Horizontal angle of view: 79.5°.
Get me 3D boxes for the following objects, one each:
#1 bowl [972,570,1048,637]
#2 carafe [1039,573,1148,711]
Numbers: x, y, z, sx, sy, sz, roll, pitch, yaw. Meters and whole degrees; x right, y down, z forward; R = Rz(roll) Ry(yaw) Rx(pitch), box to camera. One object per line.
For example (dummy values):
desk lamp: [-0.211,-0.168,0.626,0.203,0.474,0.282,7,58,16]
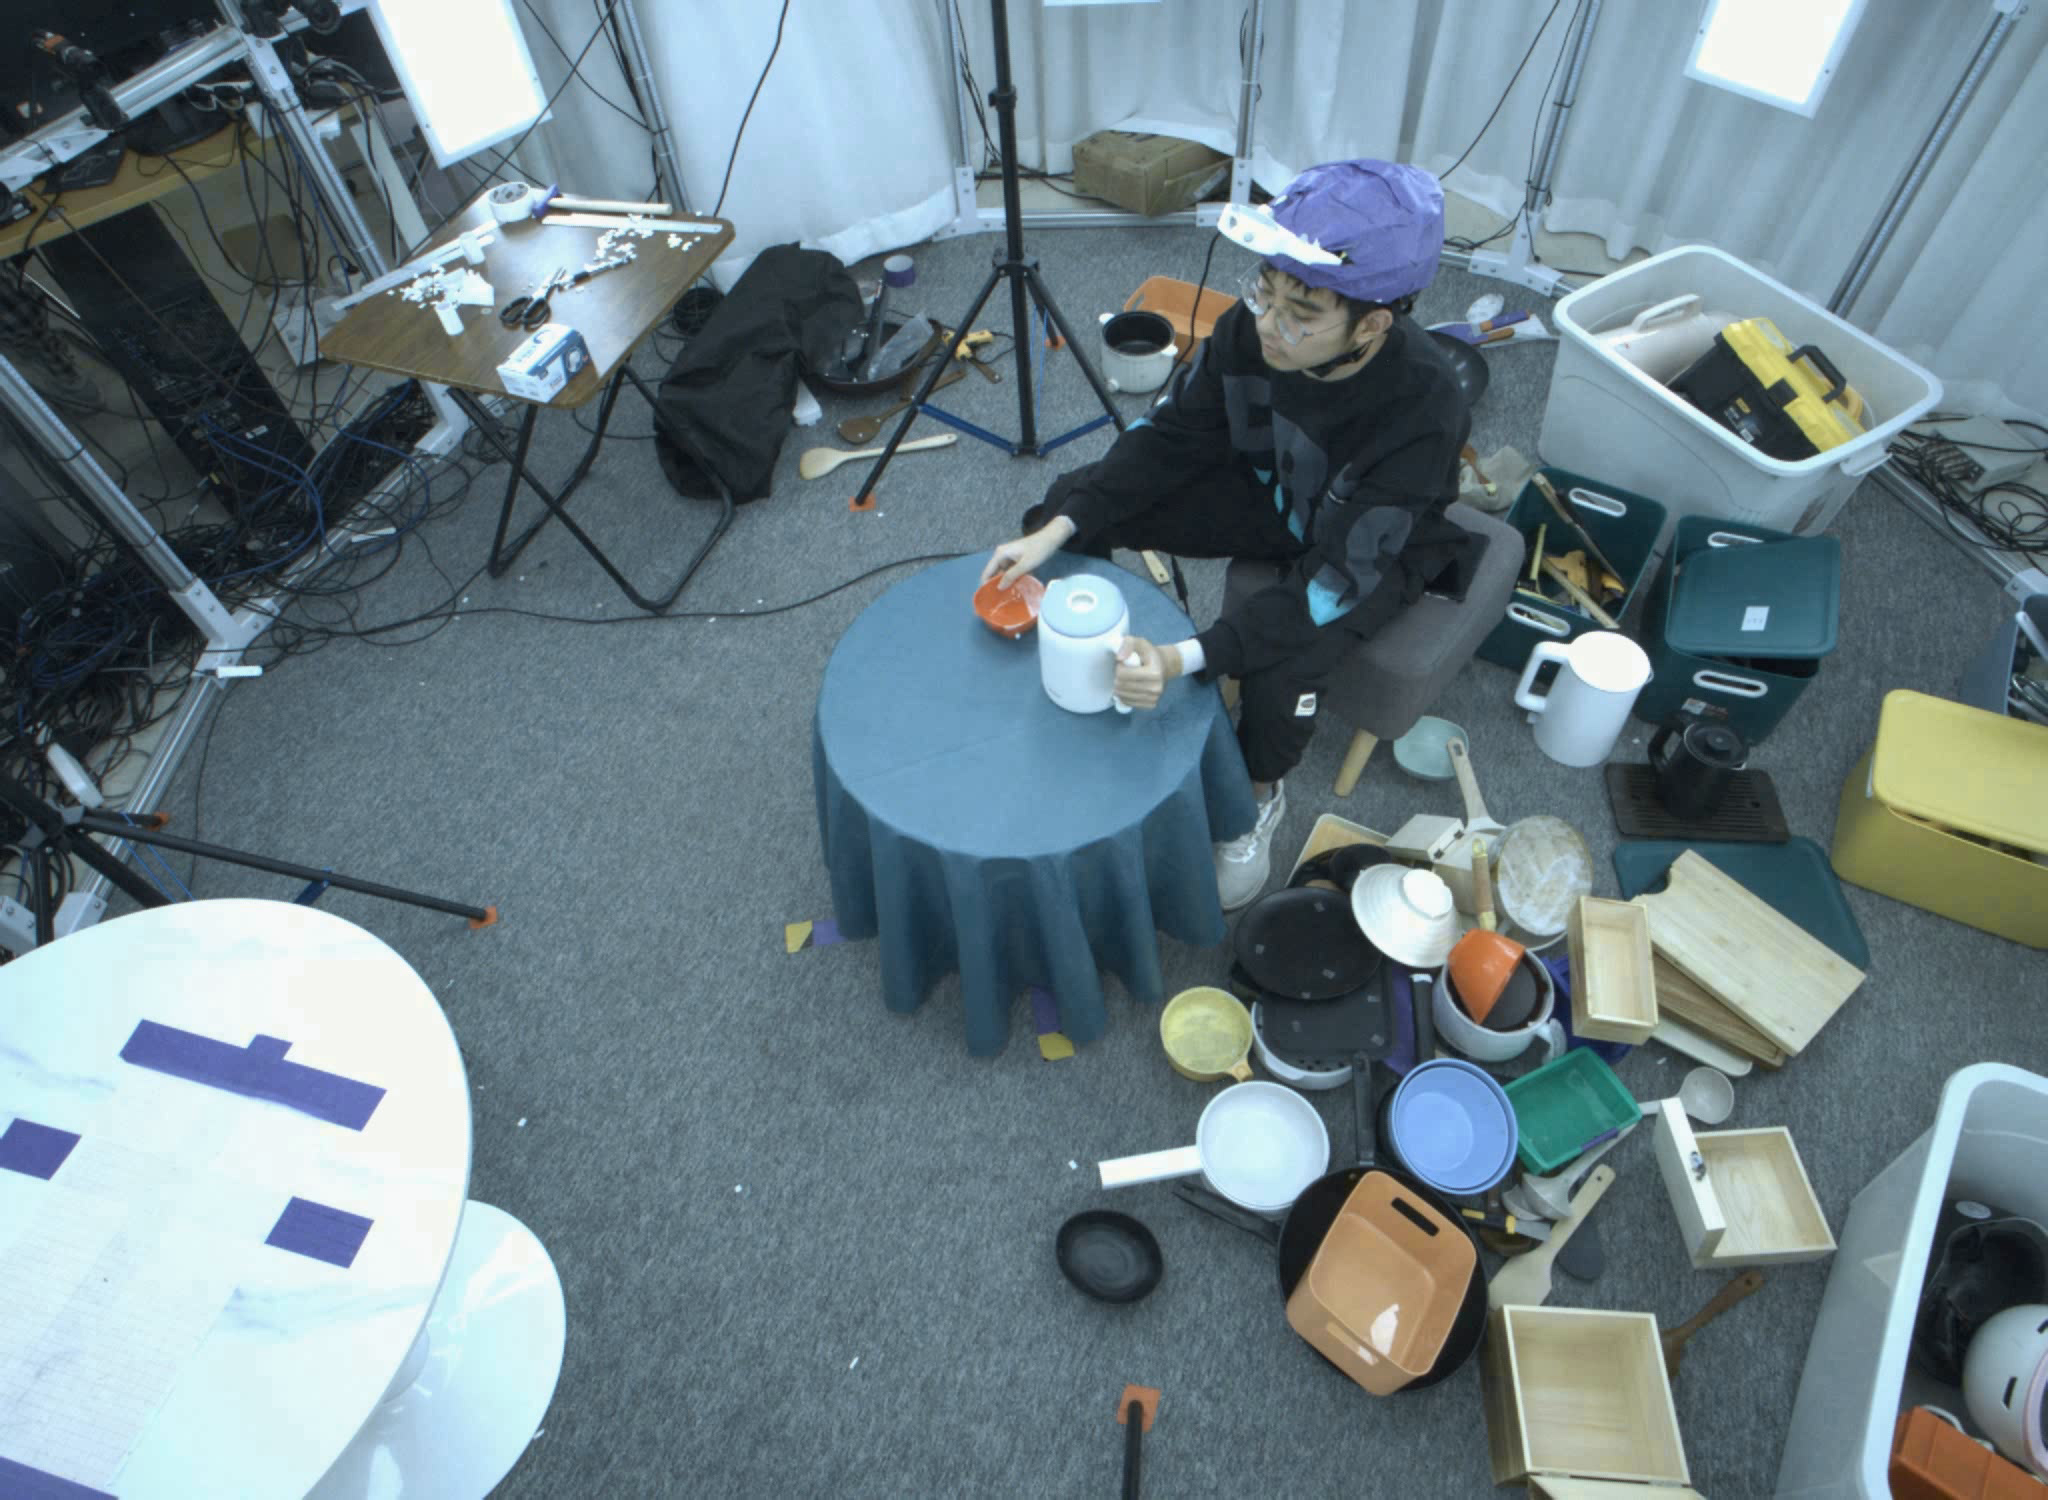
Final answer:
bowl: [-0.019,-0.221,1.909,0.118,0.052,0.117,-5,53,8]
carafe: [0.105,-0.141,1.774,0.133,0.184,0.188,-40,64,-21]
